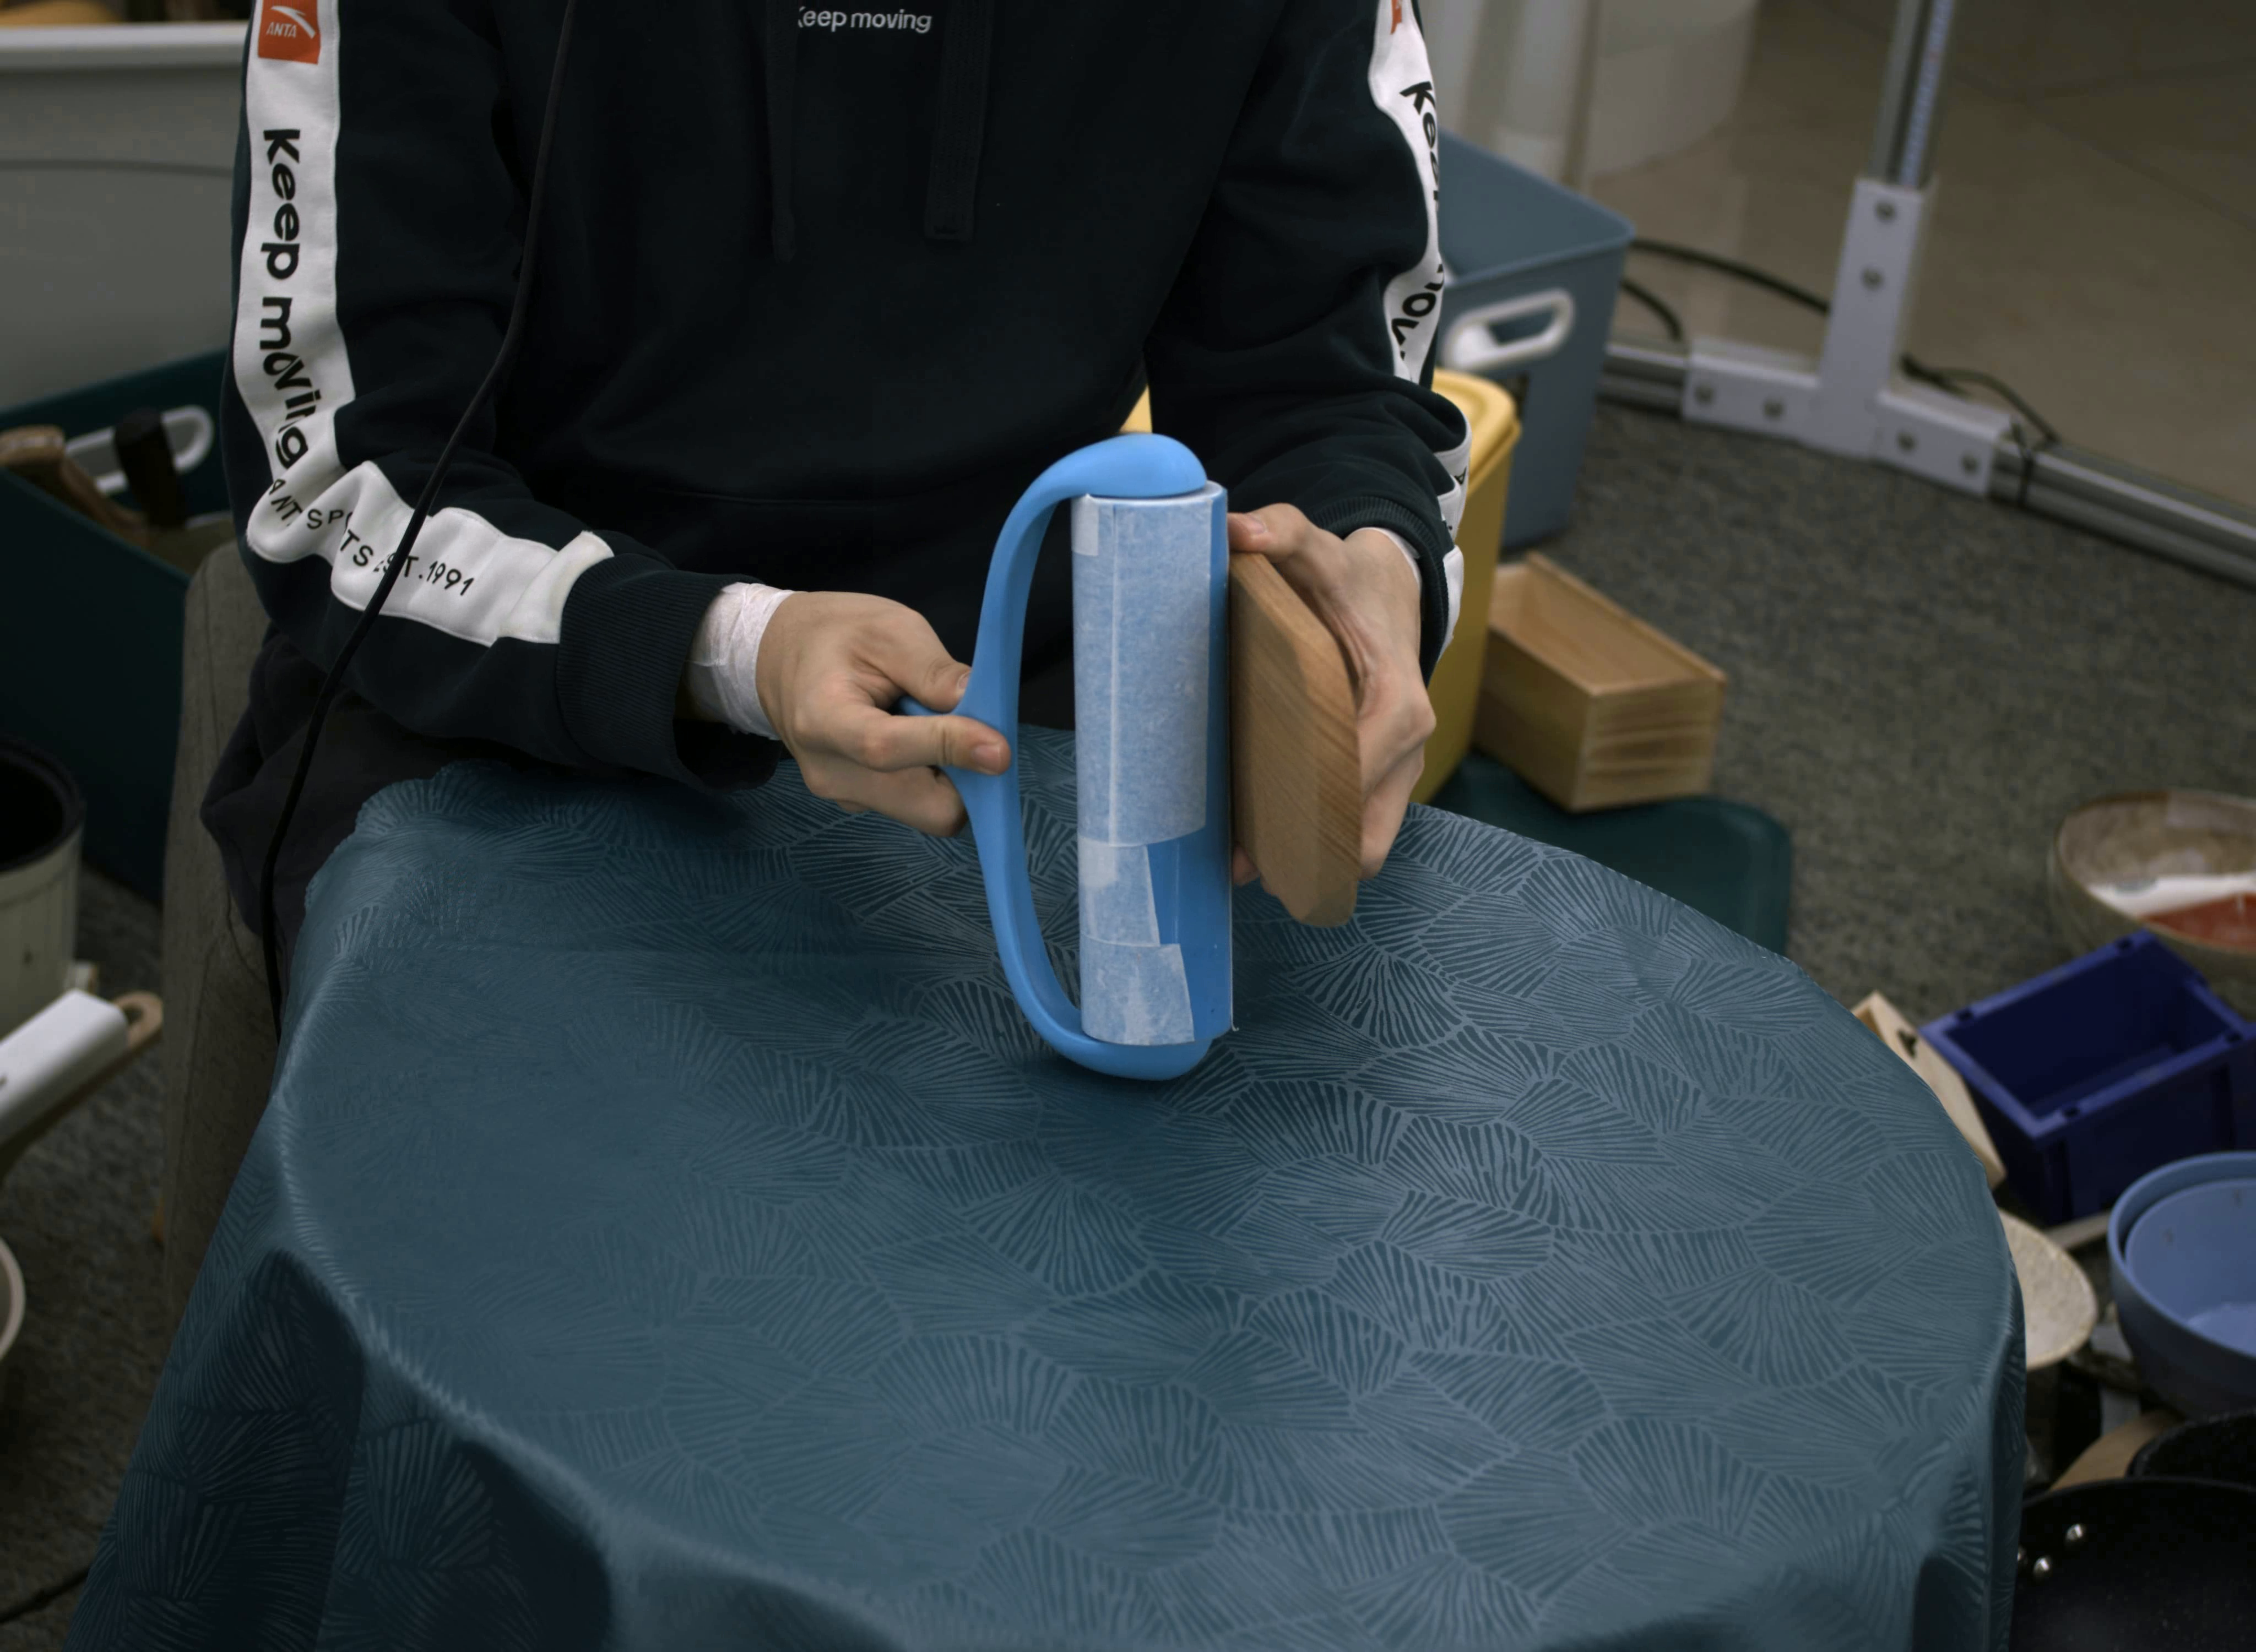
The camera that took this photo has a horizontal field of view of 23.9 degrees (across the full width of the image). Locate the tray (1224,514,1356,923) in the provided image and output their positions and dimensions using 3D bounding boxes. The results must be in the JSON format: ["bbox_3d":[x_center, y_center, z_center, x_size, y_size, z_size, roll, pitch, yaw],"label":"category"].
[{"bbox_3d":[0.045,-0.039,1.824,0.020,0.101,0.232,-3,19,-12],"label":"tray"}]

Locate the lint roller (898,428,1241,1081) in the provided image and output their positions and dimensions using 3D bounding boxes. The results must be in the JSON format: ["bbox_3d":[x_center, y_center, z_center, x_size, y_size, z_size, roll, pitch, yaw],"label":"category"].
[{"bbox_3d":[-0.035,-0.029,1.881,0.181,0.229,0.067,7,16,44],"label":"lint roller"}]
